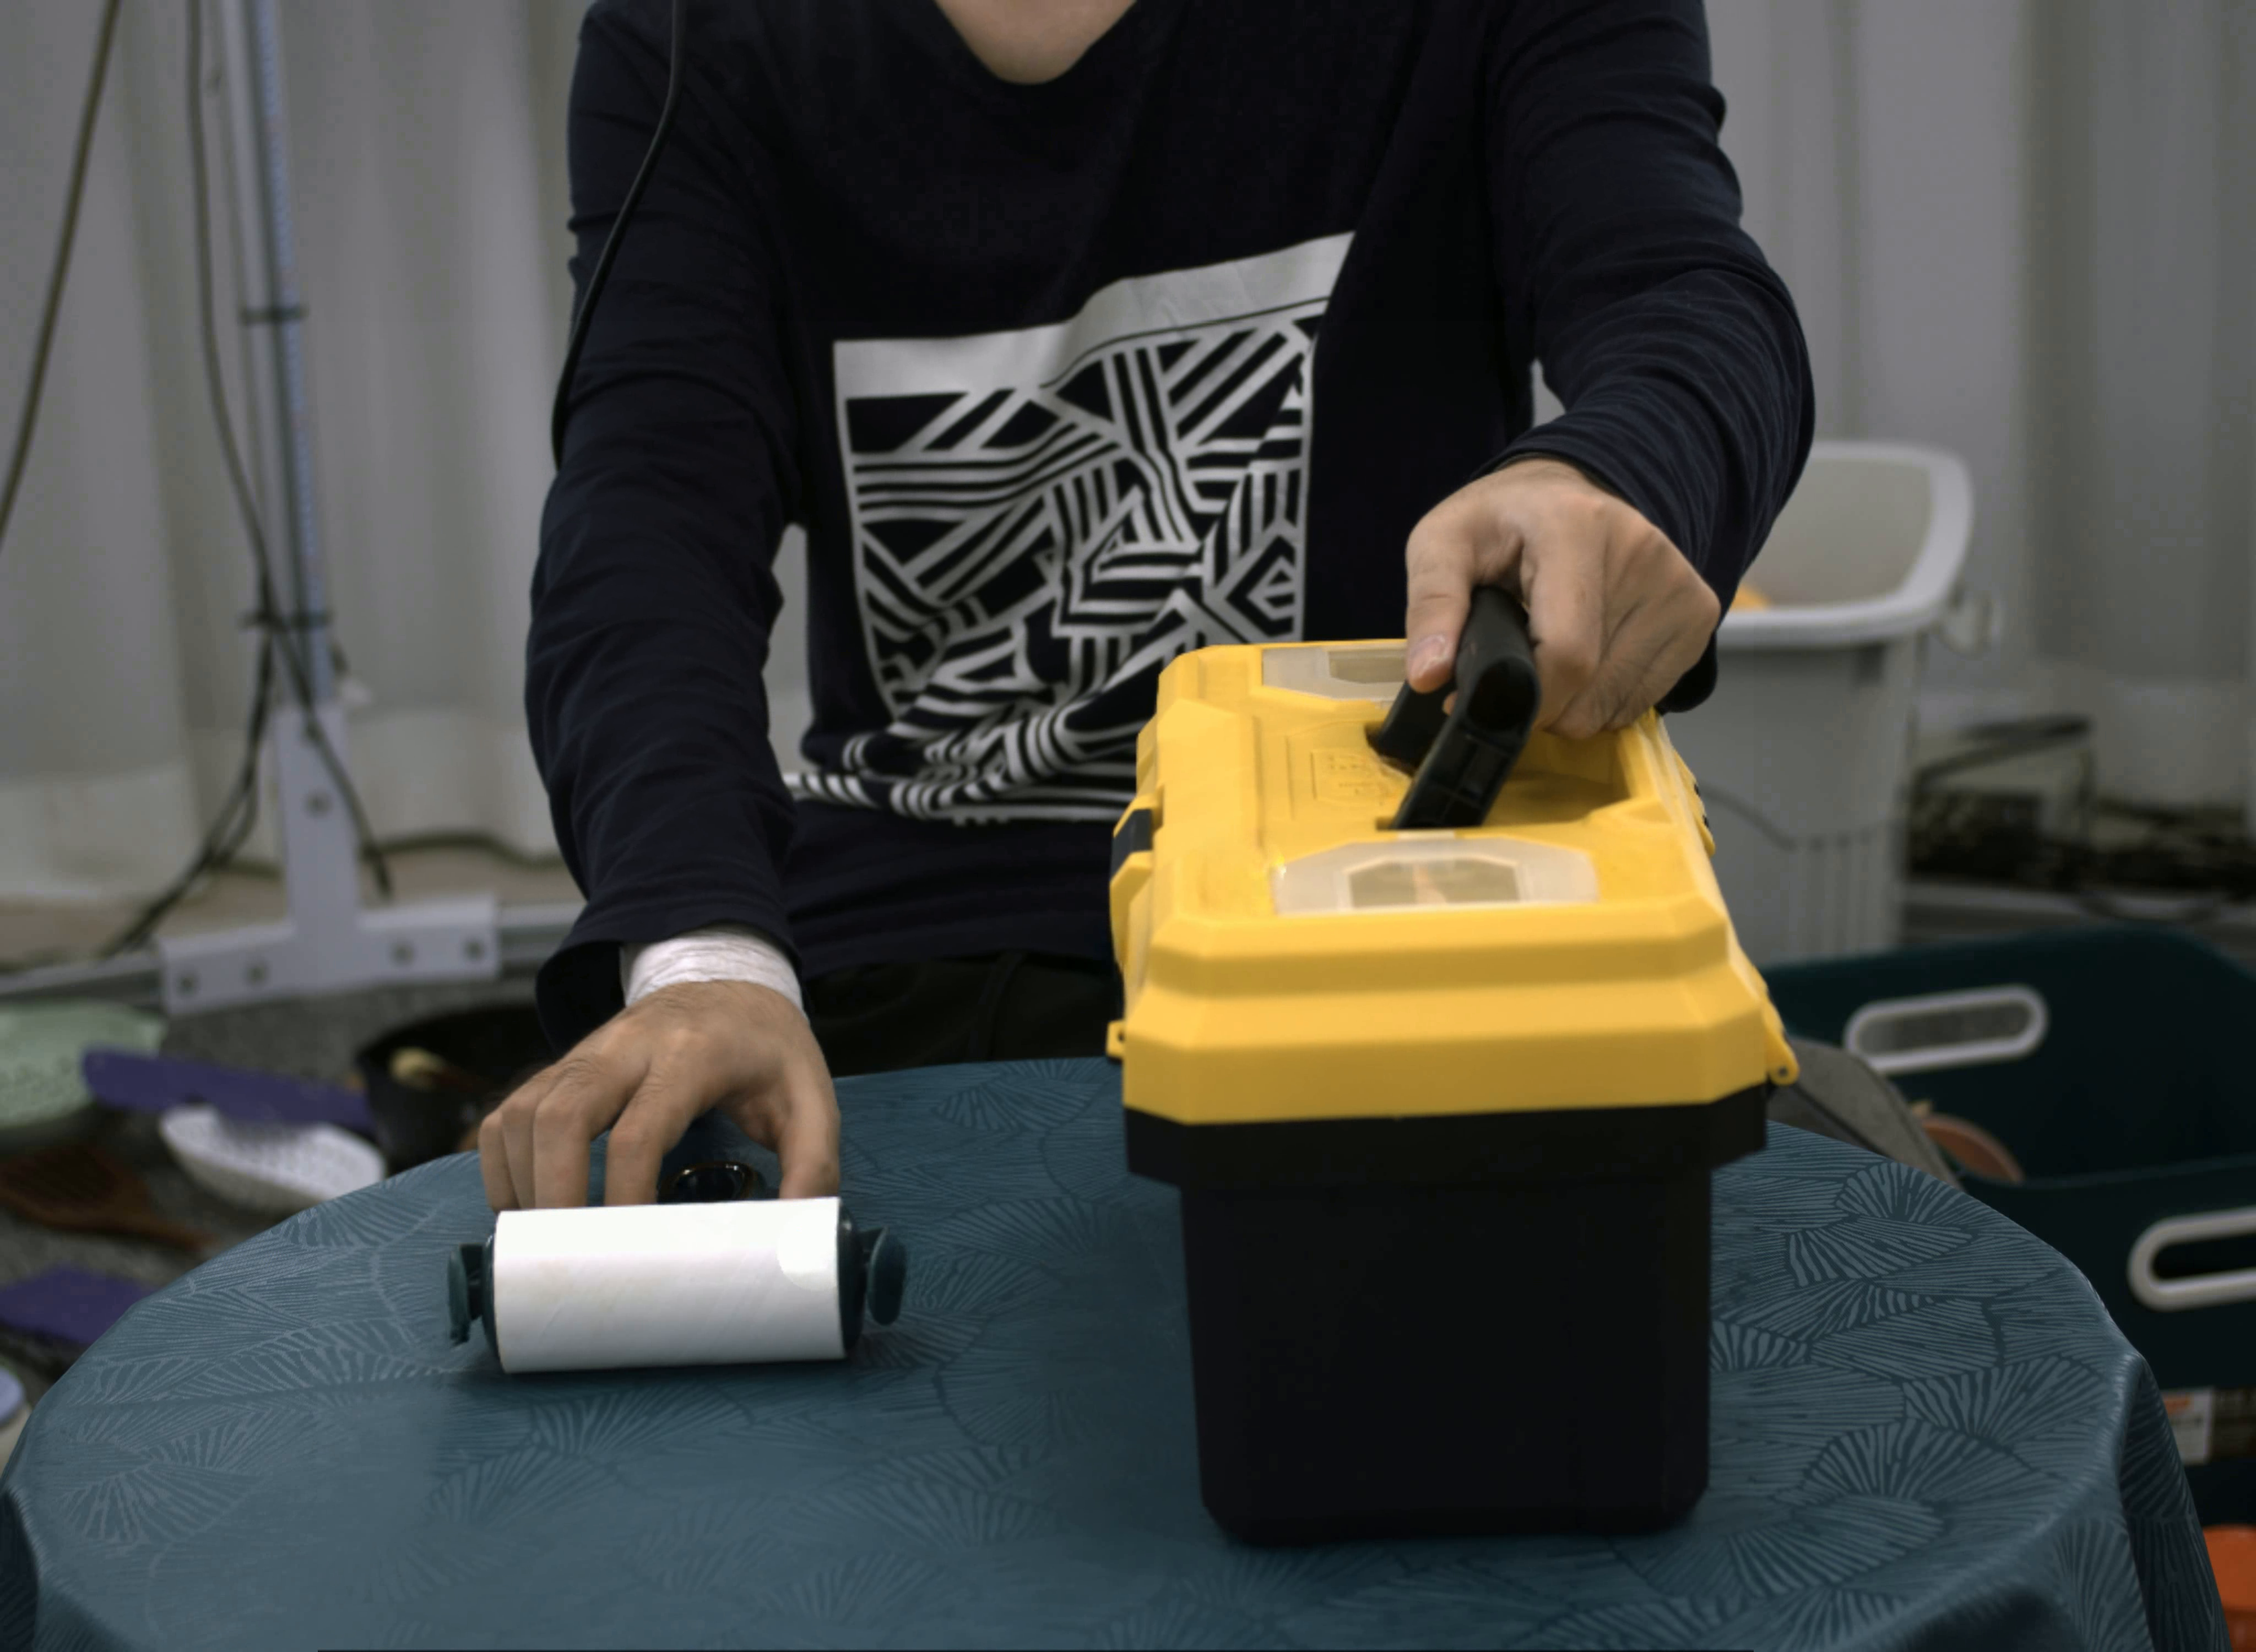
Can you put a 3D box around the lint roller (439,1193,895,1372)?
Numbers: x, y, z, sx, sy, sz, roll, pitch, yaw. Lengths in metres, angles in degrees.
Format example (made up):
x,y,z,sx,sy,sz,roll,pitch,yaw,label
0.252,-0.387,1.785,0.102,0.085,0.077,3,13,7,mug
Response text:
x,y,z,sx,sy,sz,roll,pitch,yaw,label
-0.132,0.120,1.647,0.134,0.048,0.181,-3,11,1,lint roller

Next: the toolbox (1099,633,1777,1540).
x,y,z,sx,sy,sz,roll,pitch,yaw,label
0.082,0.064,1.554,0.181,0.172,0.354,-2,14,1,toolbox
